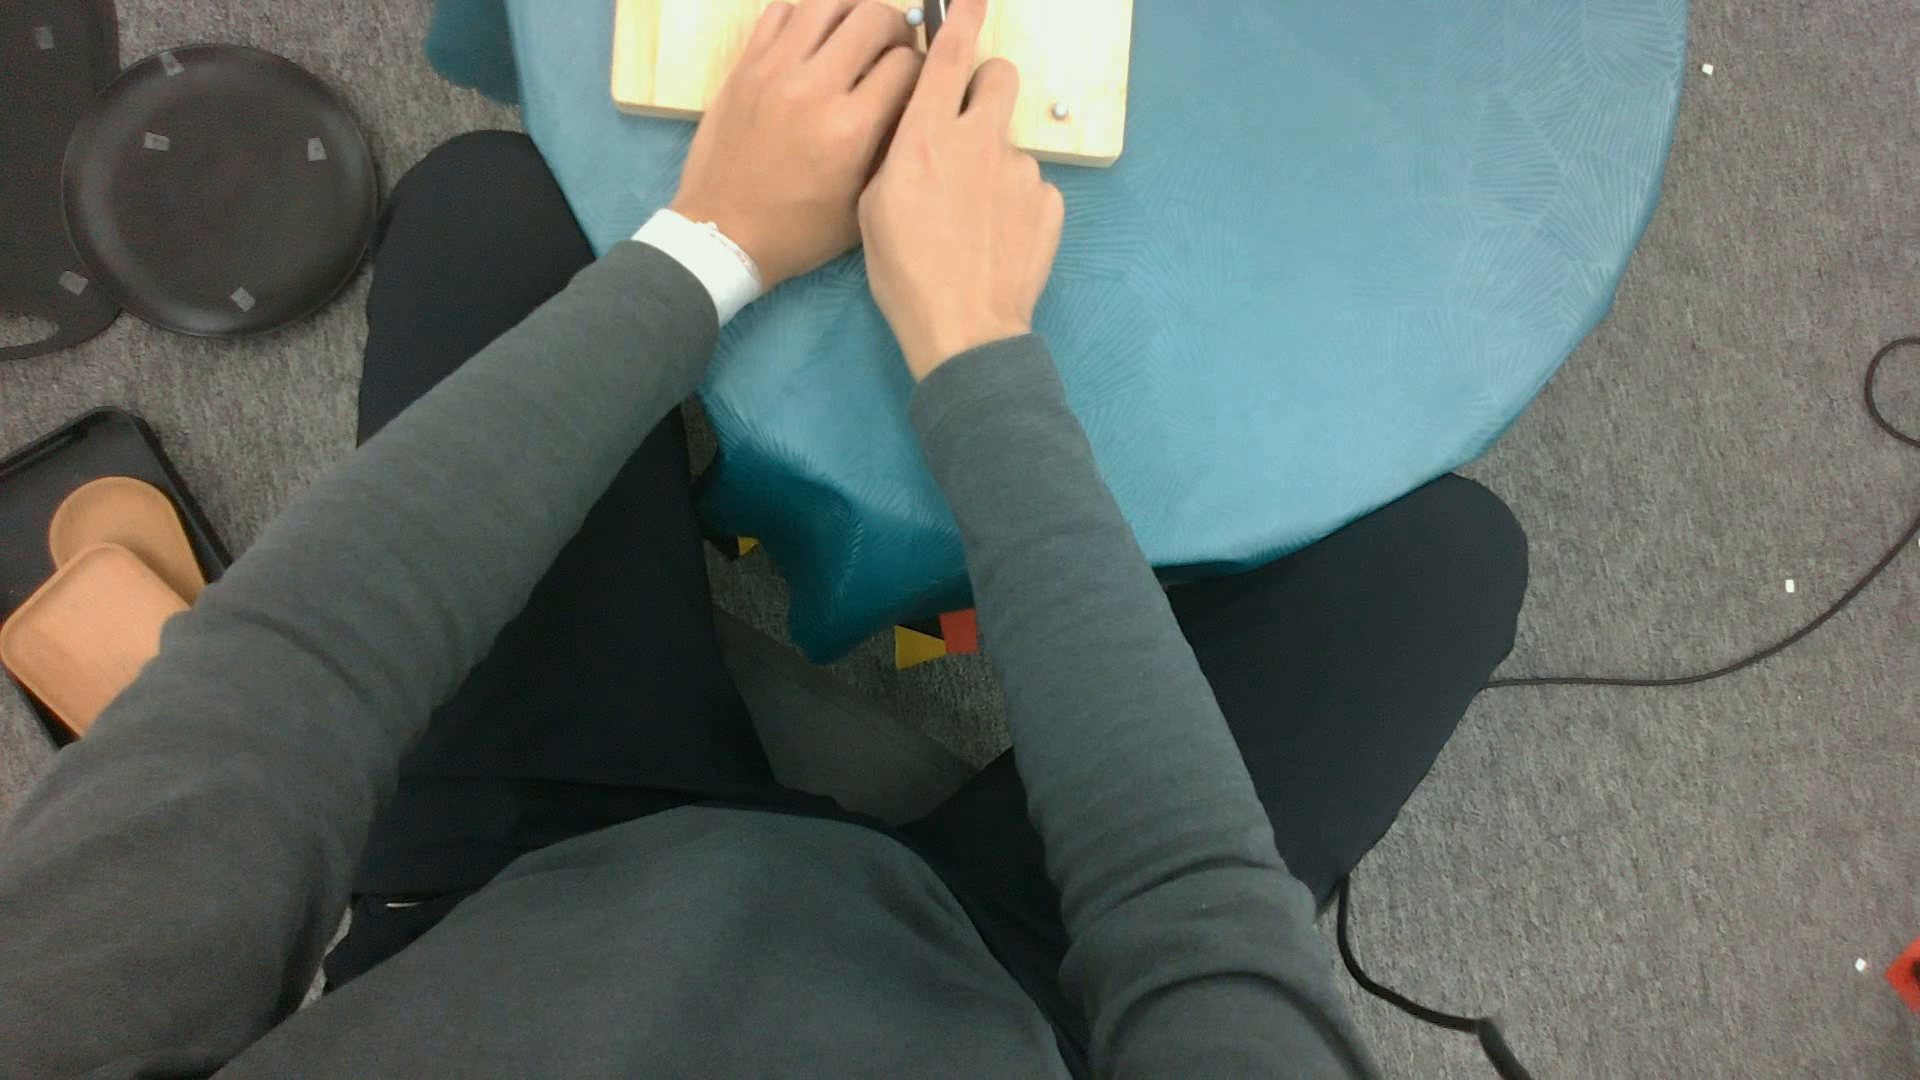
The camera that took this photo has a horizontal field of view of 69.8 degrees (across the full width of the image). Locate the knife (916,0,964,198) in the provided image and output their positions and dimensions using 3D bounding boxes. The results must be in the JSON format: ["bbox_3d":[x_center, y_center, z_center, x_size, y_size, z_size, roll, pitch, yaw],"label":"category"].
[{"bbox_3d":[-0.014,-0.273,0.616,0.016,0.024,0.238,-4,89,-7],"label":"knife"}]

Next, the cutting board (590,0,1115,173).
[{"bbox_3d":[-0.039,-0.360,0.659,0.251,0.023,0.348,3,88,-8],"label":"cutting board"}]
